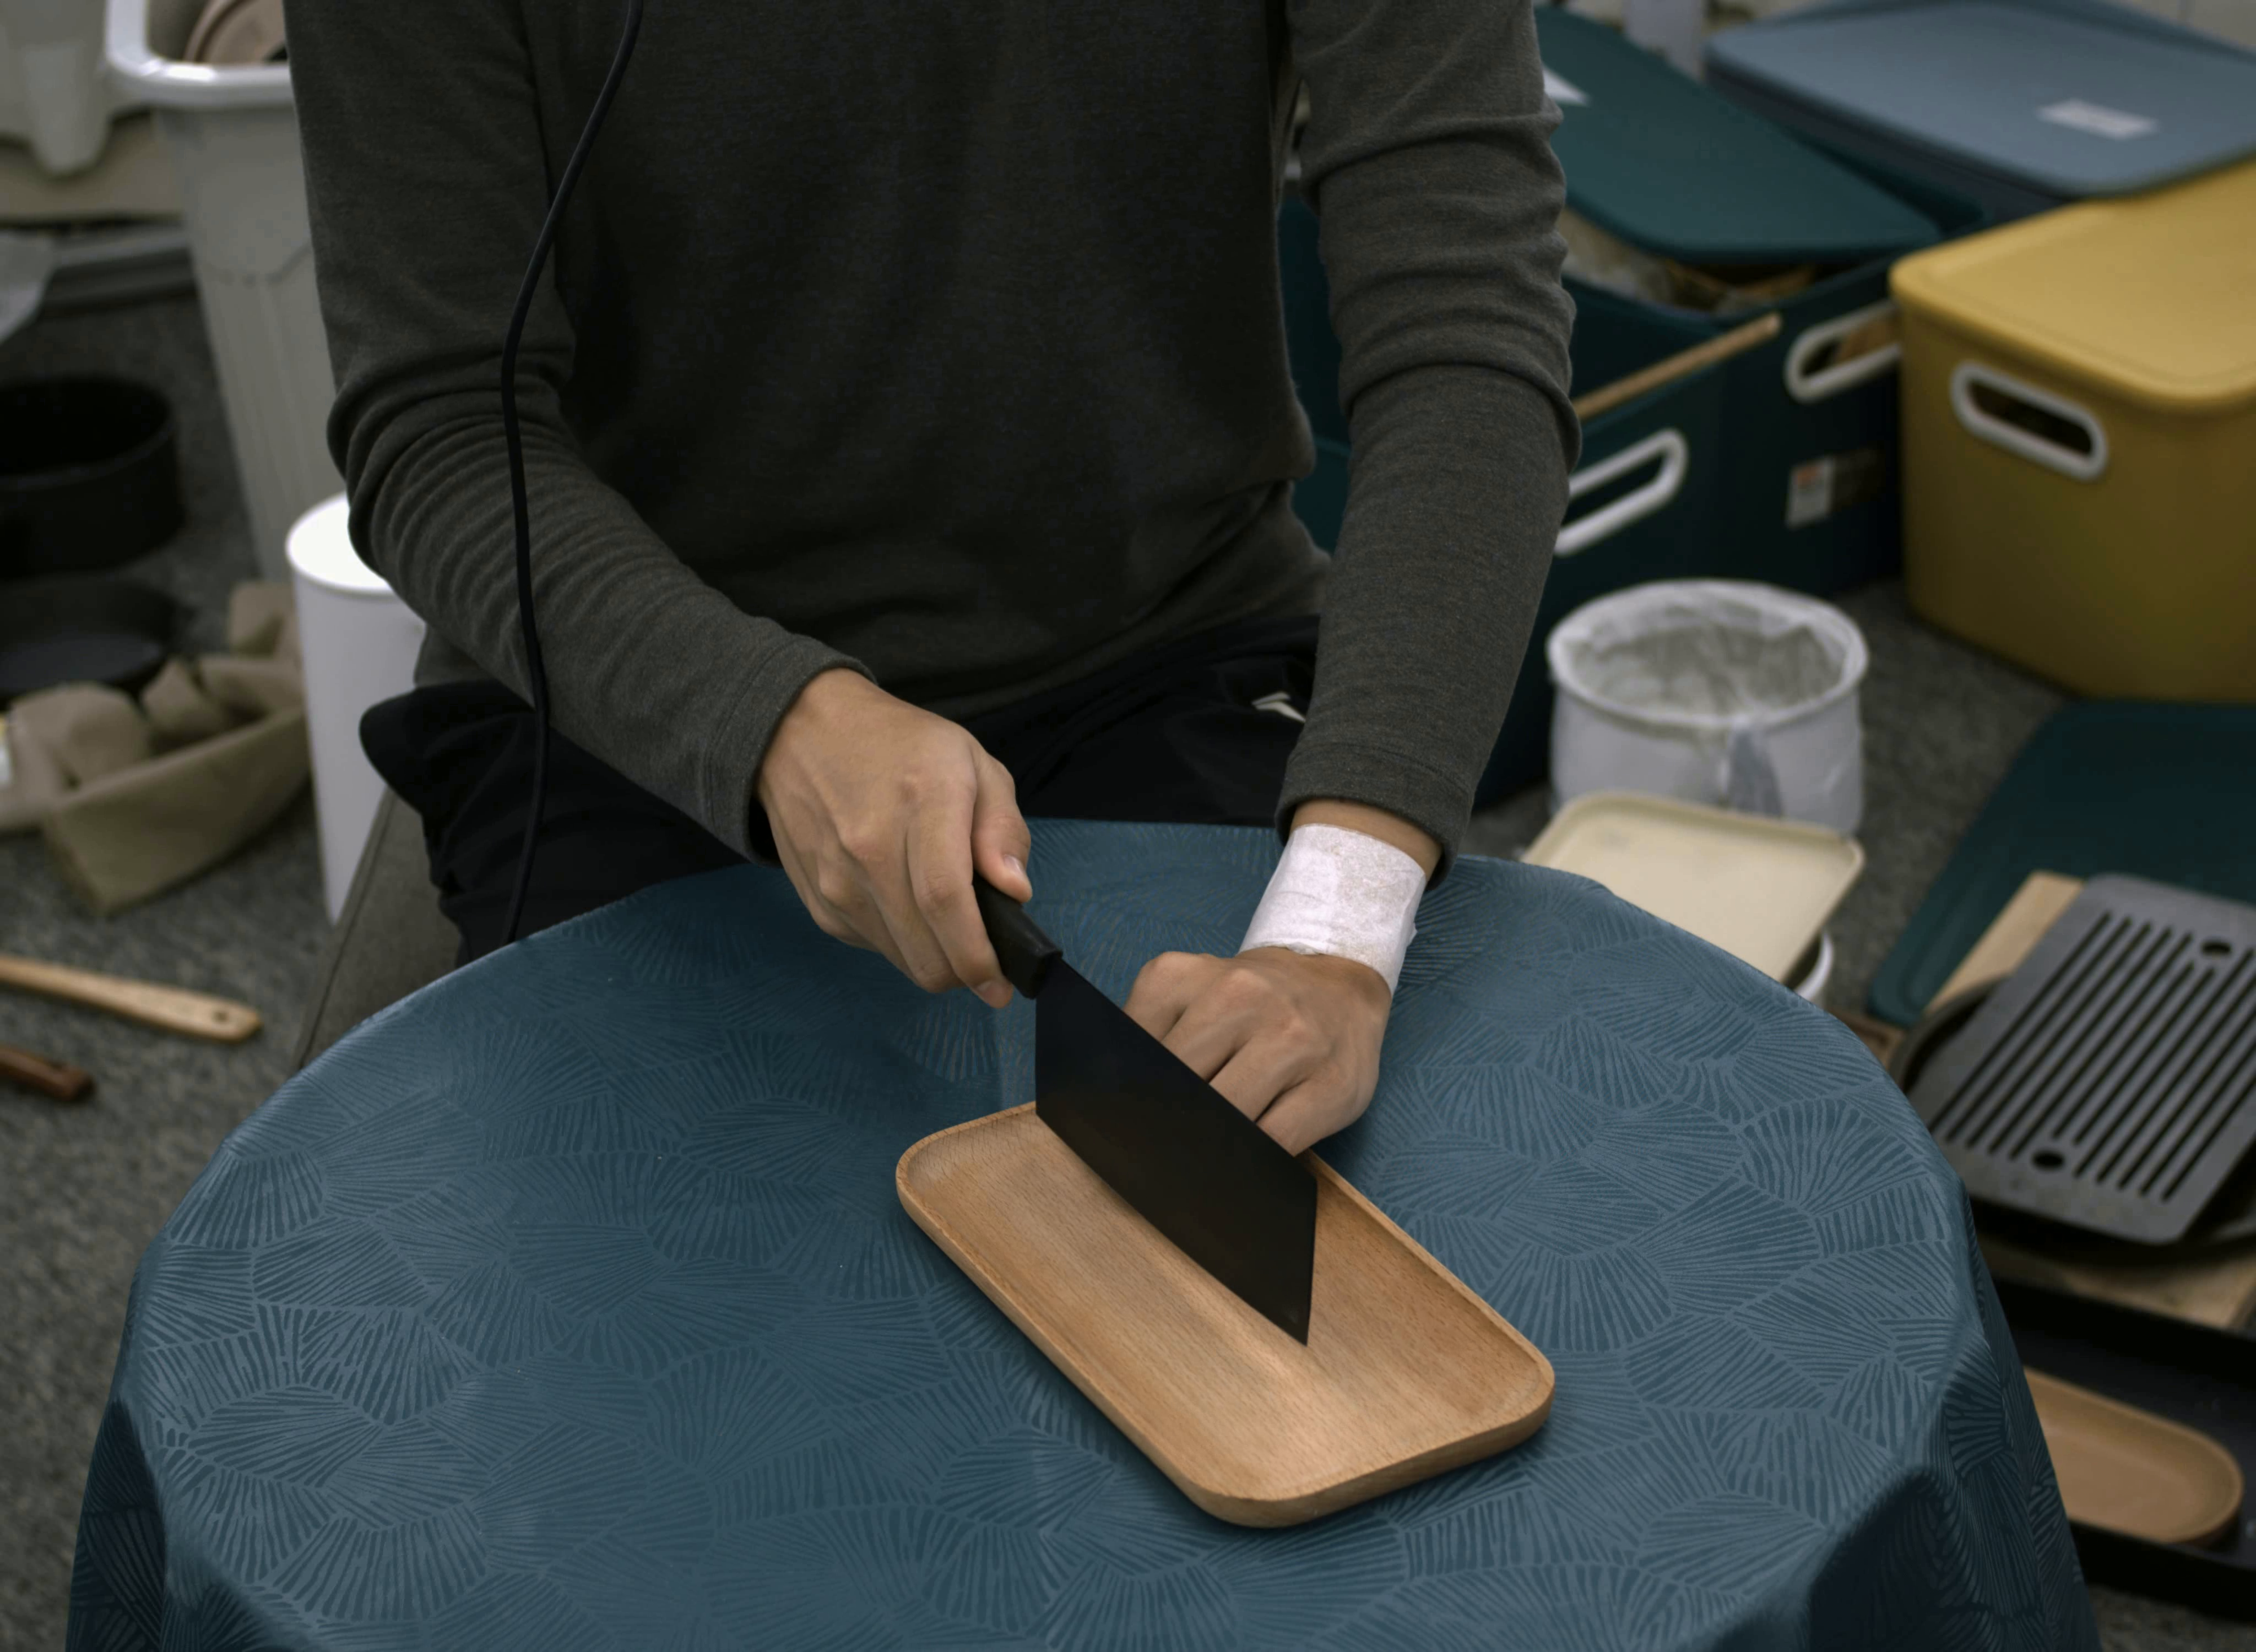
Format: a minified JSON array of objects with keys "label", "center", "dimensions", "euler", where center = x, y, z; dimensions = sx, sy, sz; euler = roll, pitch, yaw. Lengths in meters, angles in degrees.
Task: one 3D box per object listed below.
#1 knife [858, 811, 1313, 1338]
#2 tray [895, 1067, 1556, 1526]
[{"label":"knife","center":[-0.016,0.073,1.832],"dimensions":[0.021,0.080,0.304],"euler":[-9,31,-27]},{"label":"tray","center":[0.027,0.147,1.793],"dimensions":[0.131,0.022,0.252],"euler":[-13,28,-24]}]
